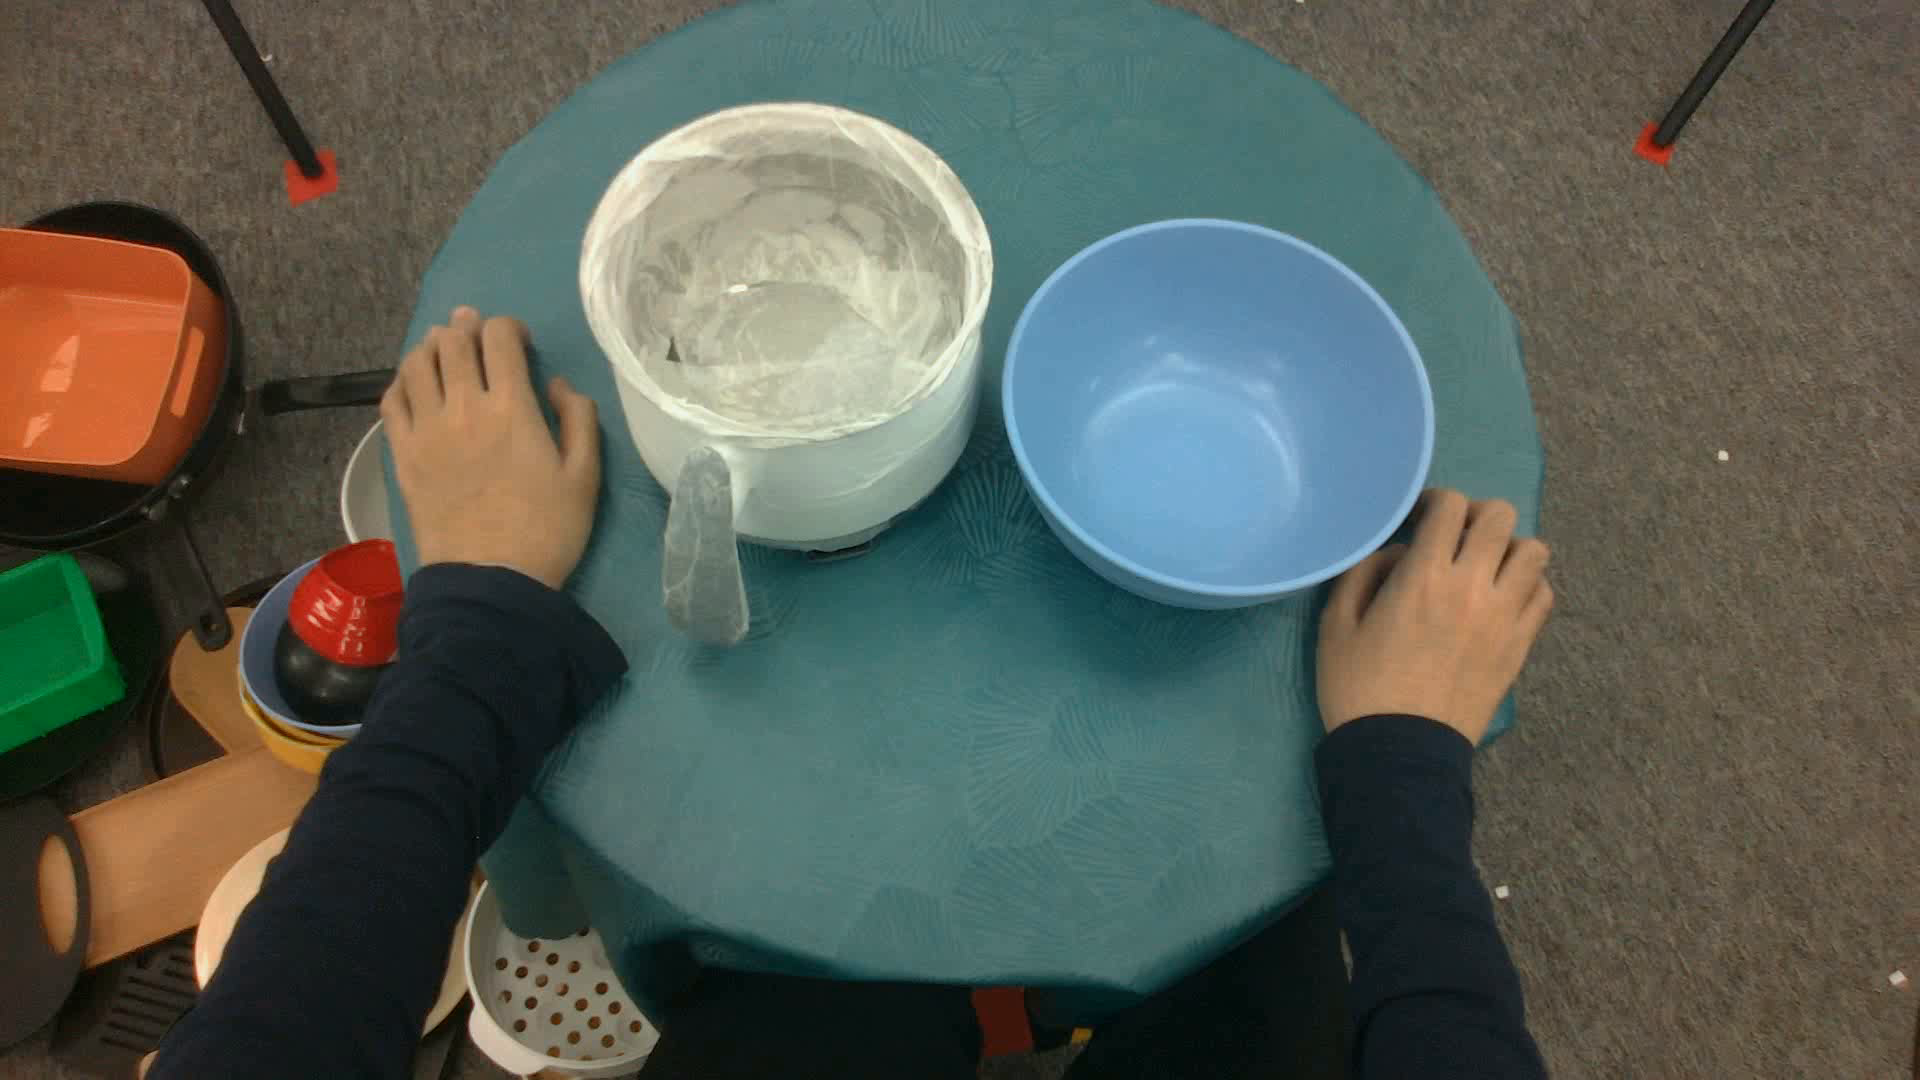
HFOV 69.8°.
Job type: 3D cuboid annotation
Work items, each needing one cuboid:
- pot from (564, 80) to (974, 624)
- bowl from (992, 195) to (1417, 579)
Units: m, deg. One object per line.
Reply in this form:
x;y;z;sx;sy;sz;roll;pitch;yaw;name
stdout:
-0.090;-0.081;0.642;0.178;0.136;0.234;14;65;6;pot
0.108;-0.059;0.665;0.196;0.095;0.197;3;62;-5;bowl
